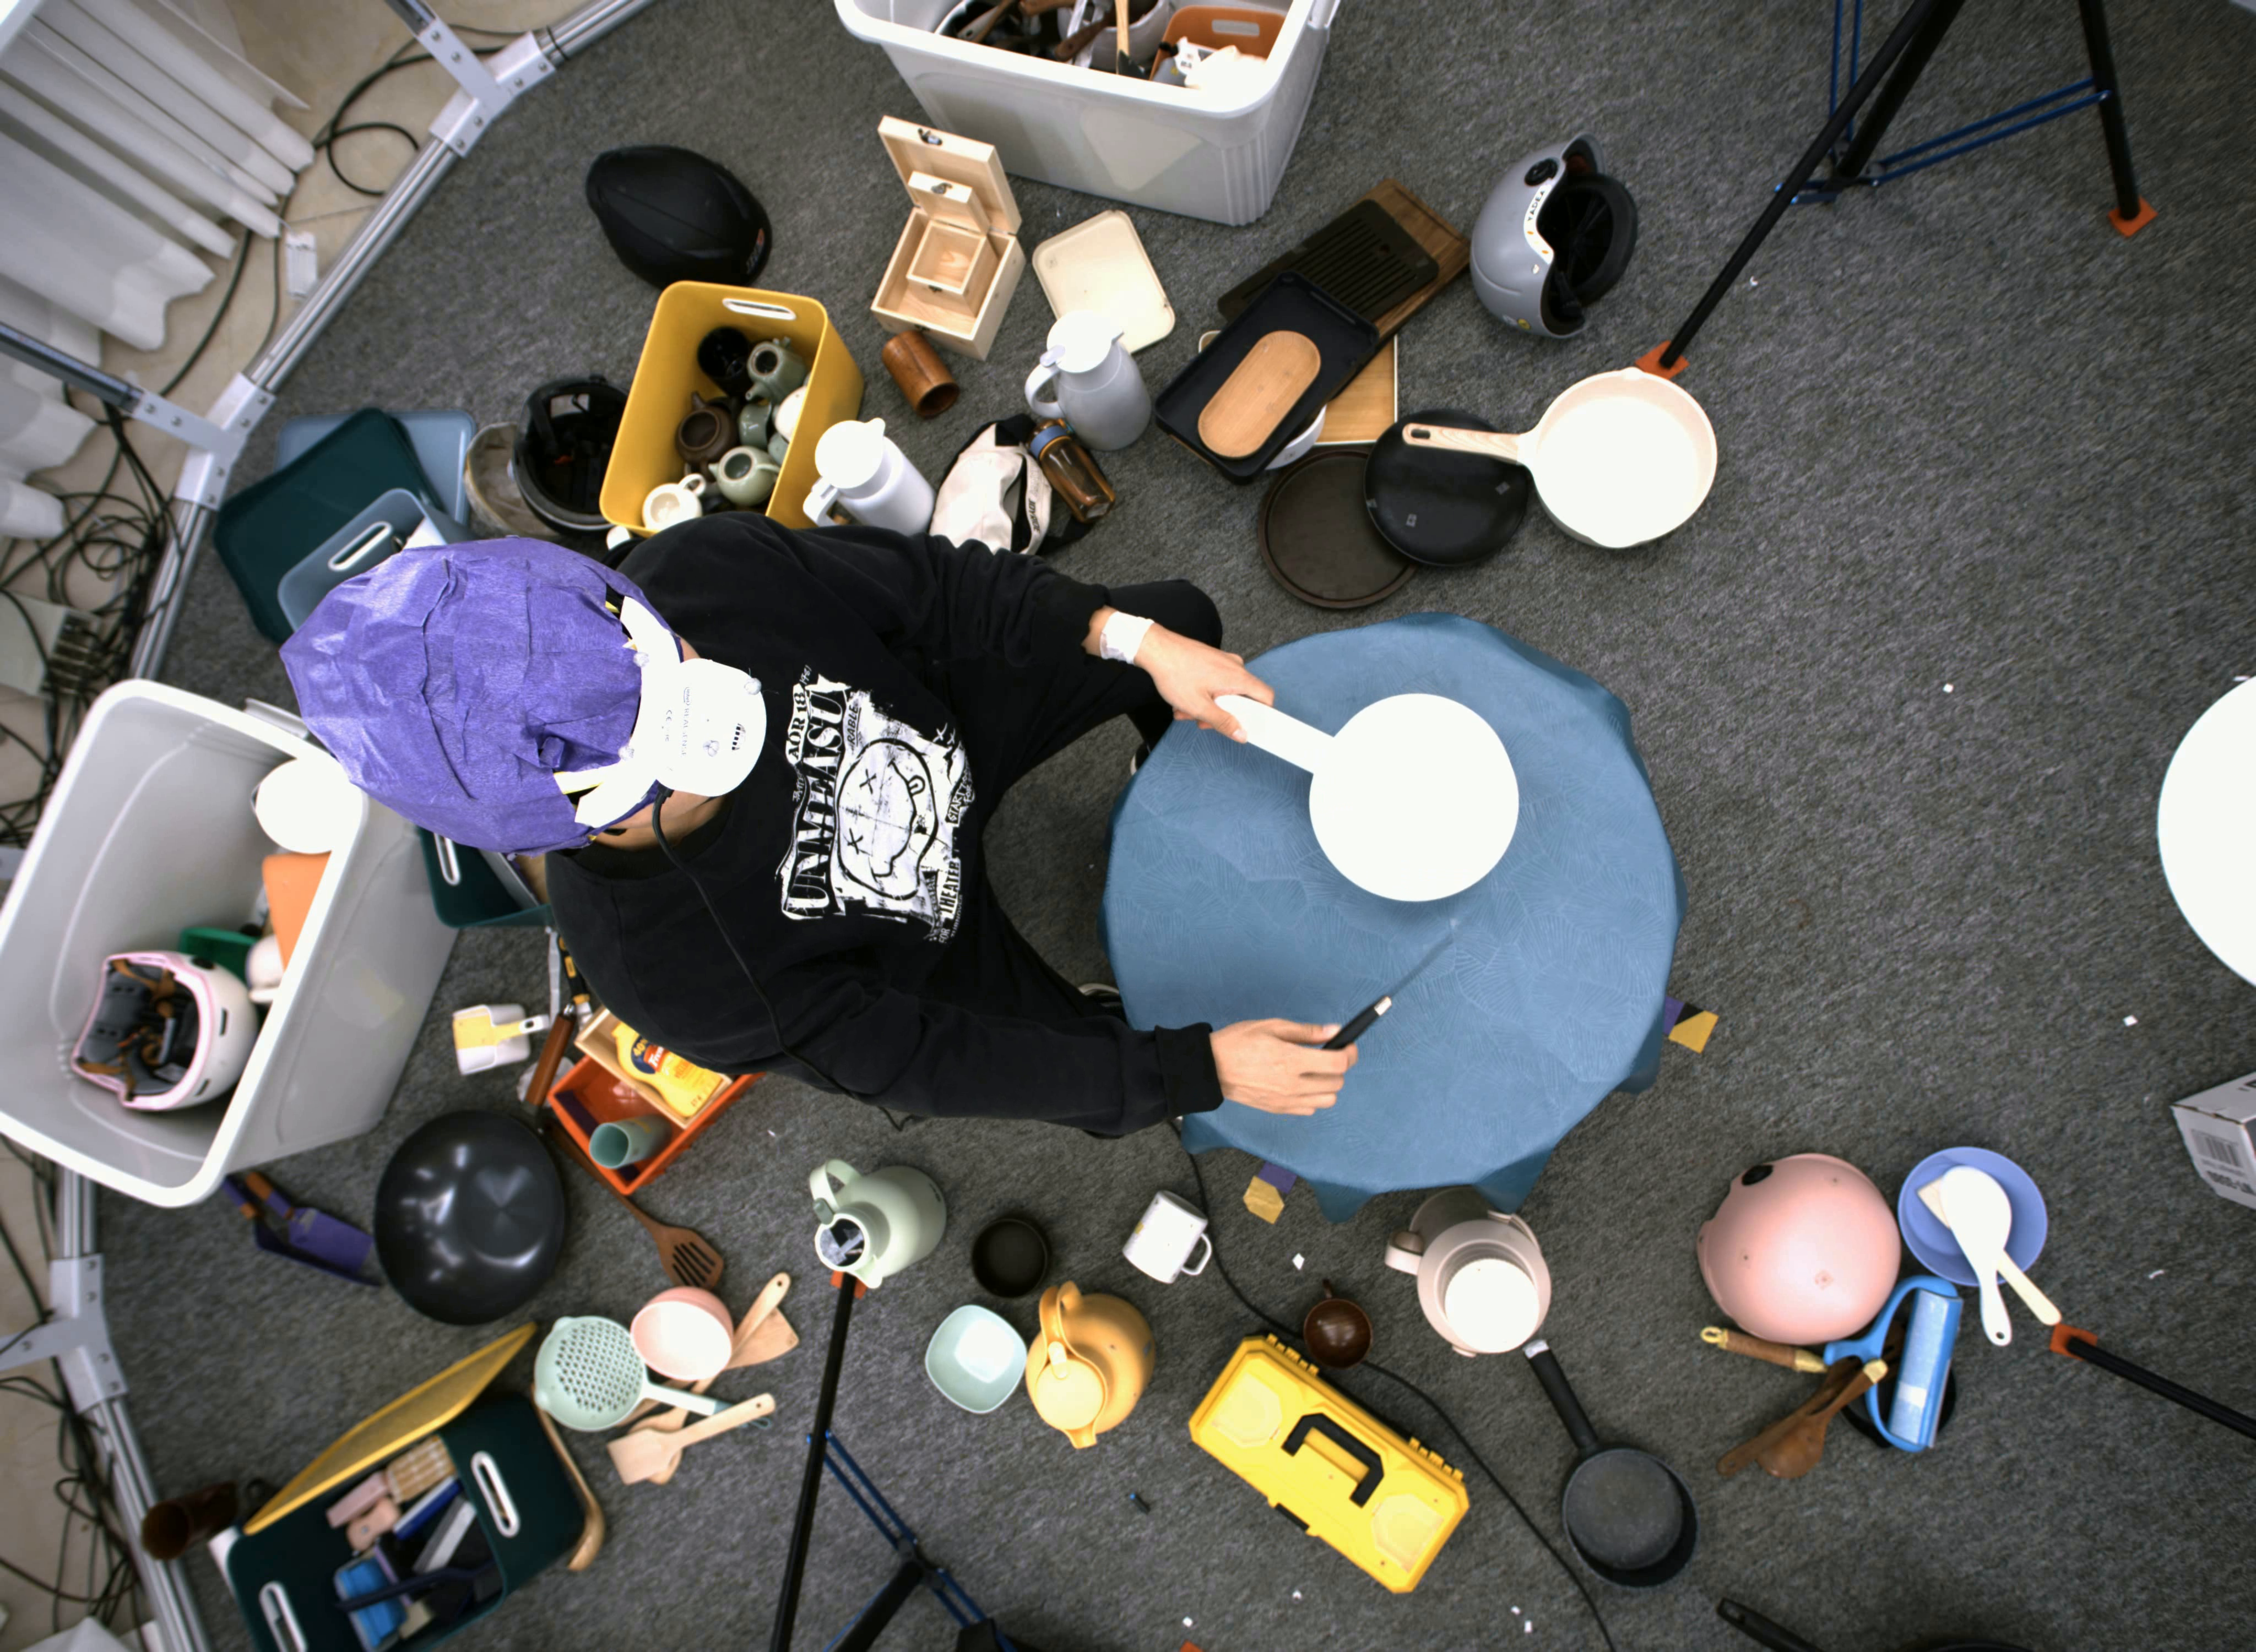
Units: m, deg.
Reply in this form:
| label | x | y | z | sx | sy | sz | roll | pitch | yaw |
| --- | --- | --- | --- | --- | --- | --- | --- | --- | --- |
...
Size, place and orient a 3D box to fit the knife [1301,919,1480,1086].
| label | x | y | z | sx | sy | sz | roll | pitch | yaw |
| --- | --- | --- | --- | --- | --- | --- | --- | --- | --- |
| knife | 0.247 | 0.162 | 1.297 | 0.226 | 0.026 | 0.017 | -44 | 72 | 5 |

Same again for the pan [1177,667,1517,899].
| label | x | y | z | sx | sy | sz | roll | pitch | yaw |
| --- | --- | --- | --- | --- | --- | --- | --- | --- | --- |
| pan | 0.222 | -0.071 | 1.400 | 0.354 | 0.100 | 0.205 | 27 | 114 | 6 |
